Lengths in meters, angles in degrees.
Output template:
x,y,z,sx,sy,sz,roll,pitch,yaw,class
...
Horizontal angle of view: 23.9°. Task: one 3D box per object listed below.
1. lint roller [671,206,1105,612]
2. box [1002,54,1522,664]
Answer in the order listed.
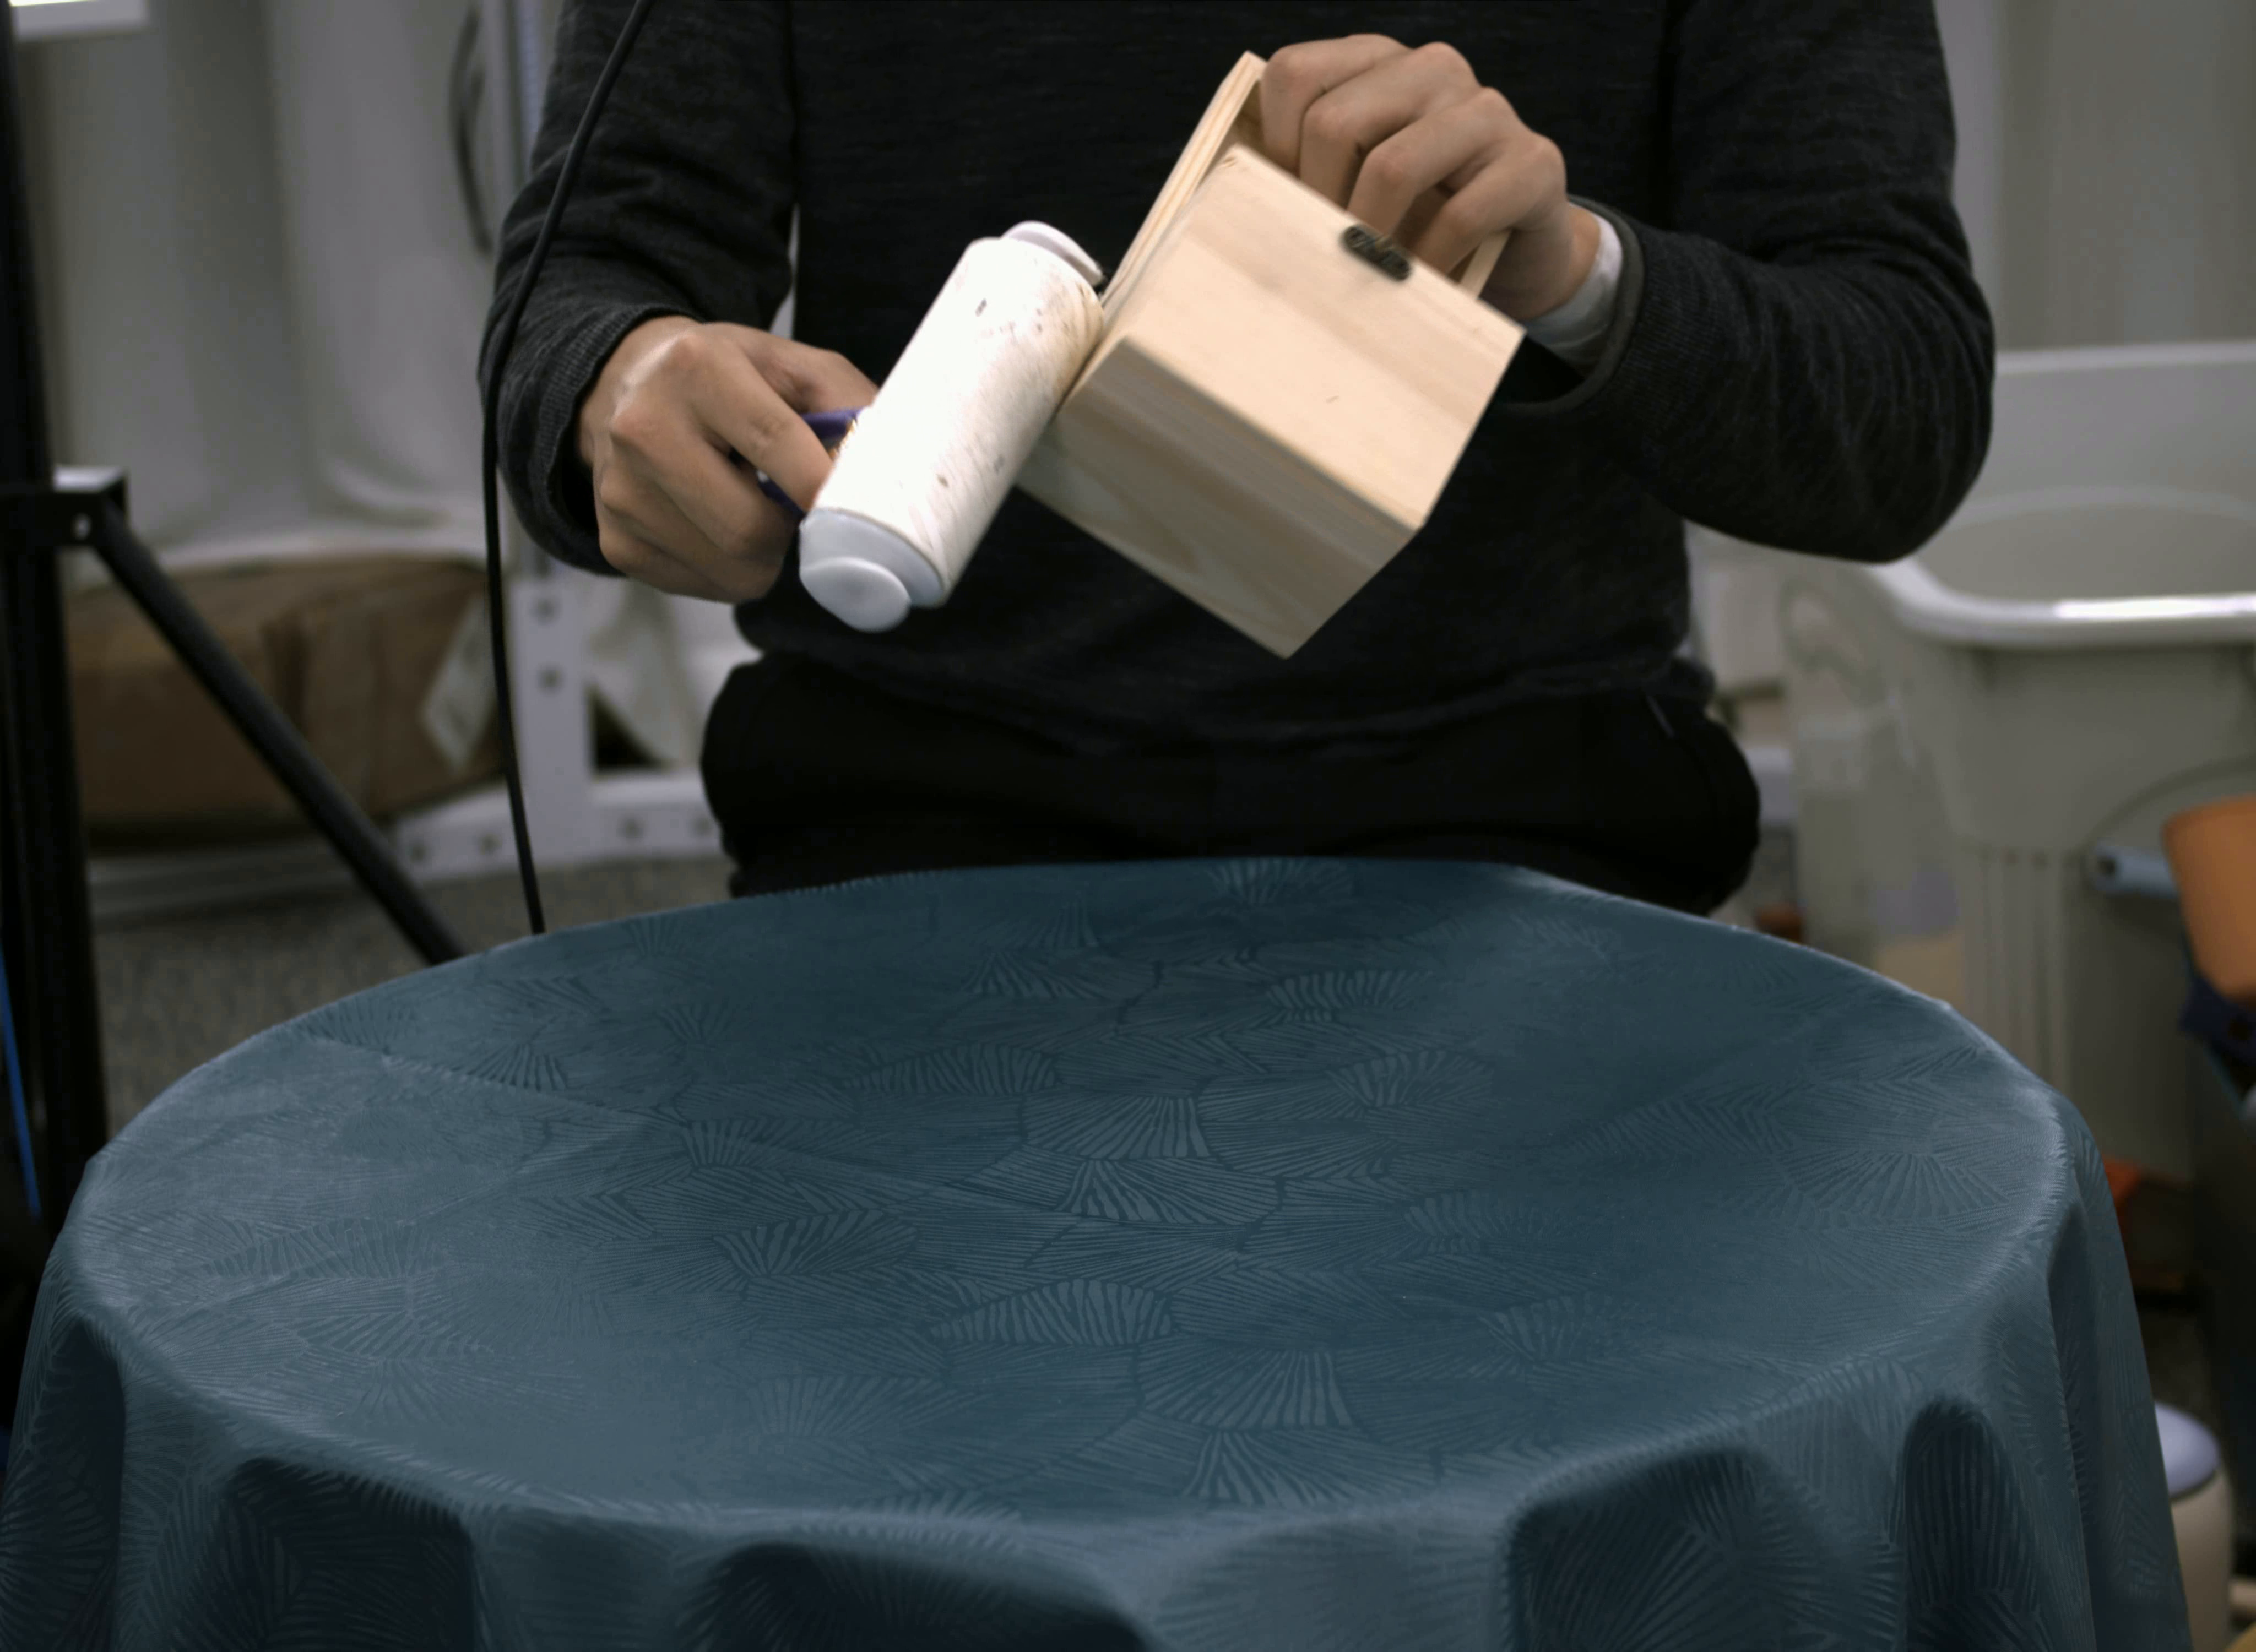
x,y,z,sx,sy,sz,roll,pitch,yaw,class
-0.090,-0.121,1.578,0.185,0.049,0.132,2,55,52,lint roller
0.056,-0.159,1.584,0.102,0.184,0.135,33,-28,-5,box
